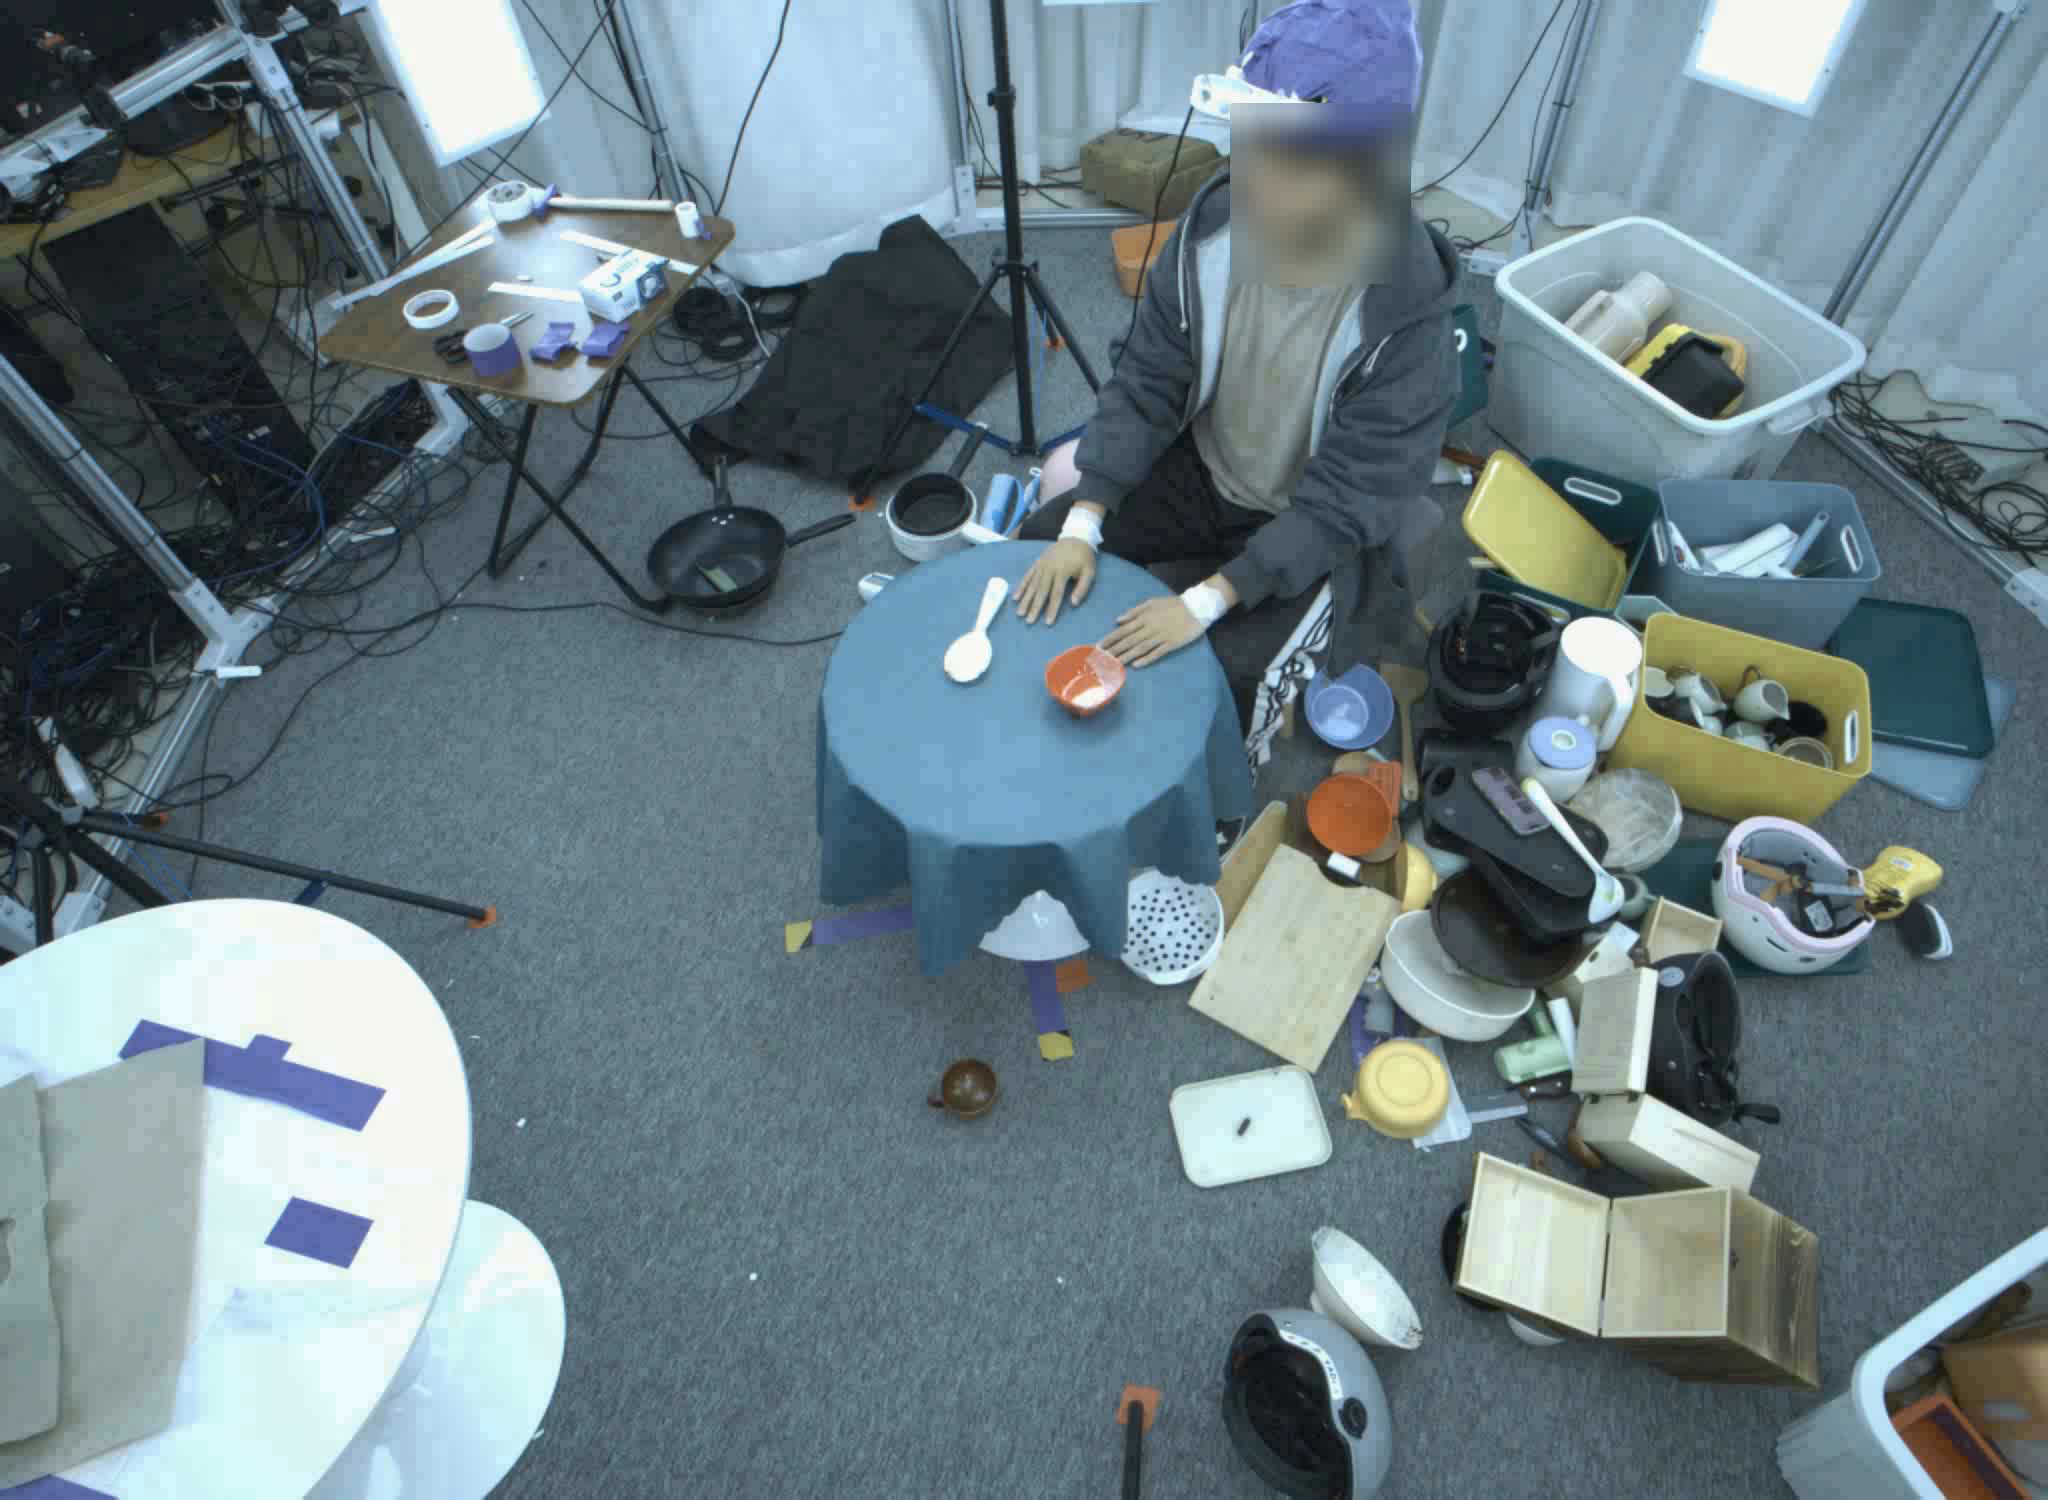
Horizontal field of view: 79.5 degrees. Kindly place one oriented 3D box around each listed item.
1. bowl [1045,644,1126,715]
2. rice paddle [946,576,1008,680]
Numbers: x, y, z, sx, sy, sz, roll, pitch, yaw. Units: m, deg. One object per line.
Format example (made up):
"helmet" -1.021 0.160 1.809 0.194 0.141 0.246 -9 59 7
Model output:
"bowl" 0.091 -0.097 1.823 0.119 0.052 0.118 -1 56 3
"rice paddle" -0.068 -0.188 1.907 0.068 0.030 0.204 11 56 11
